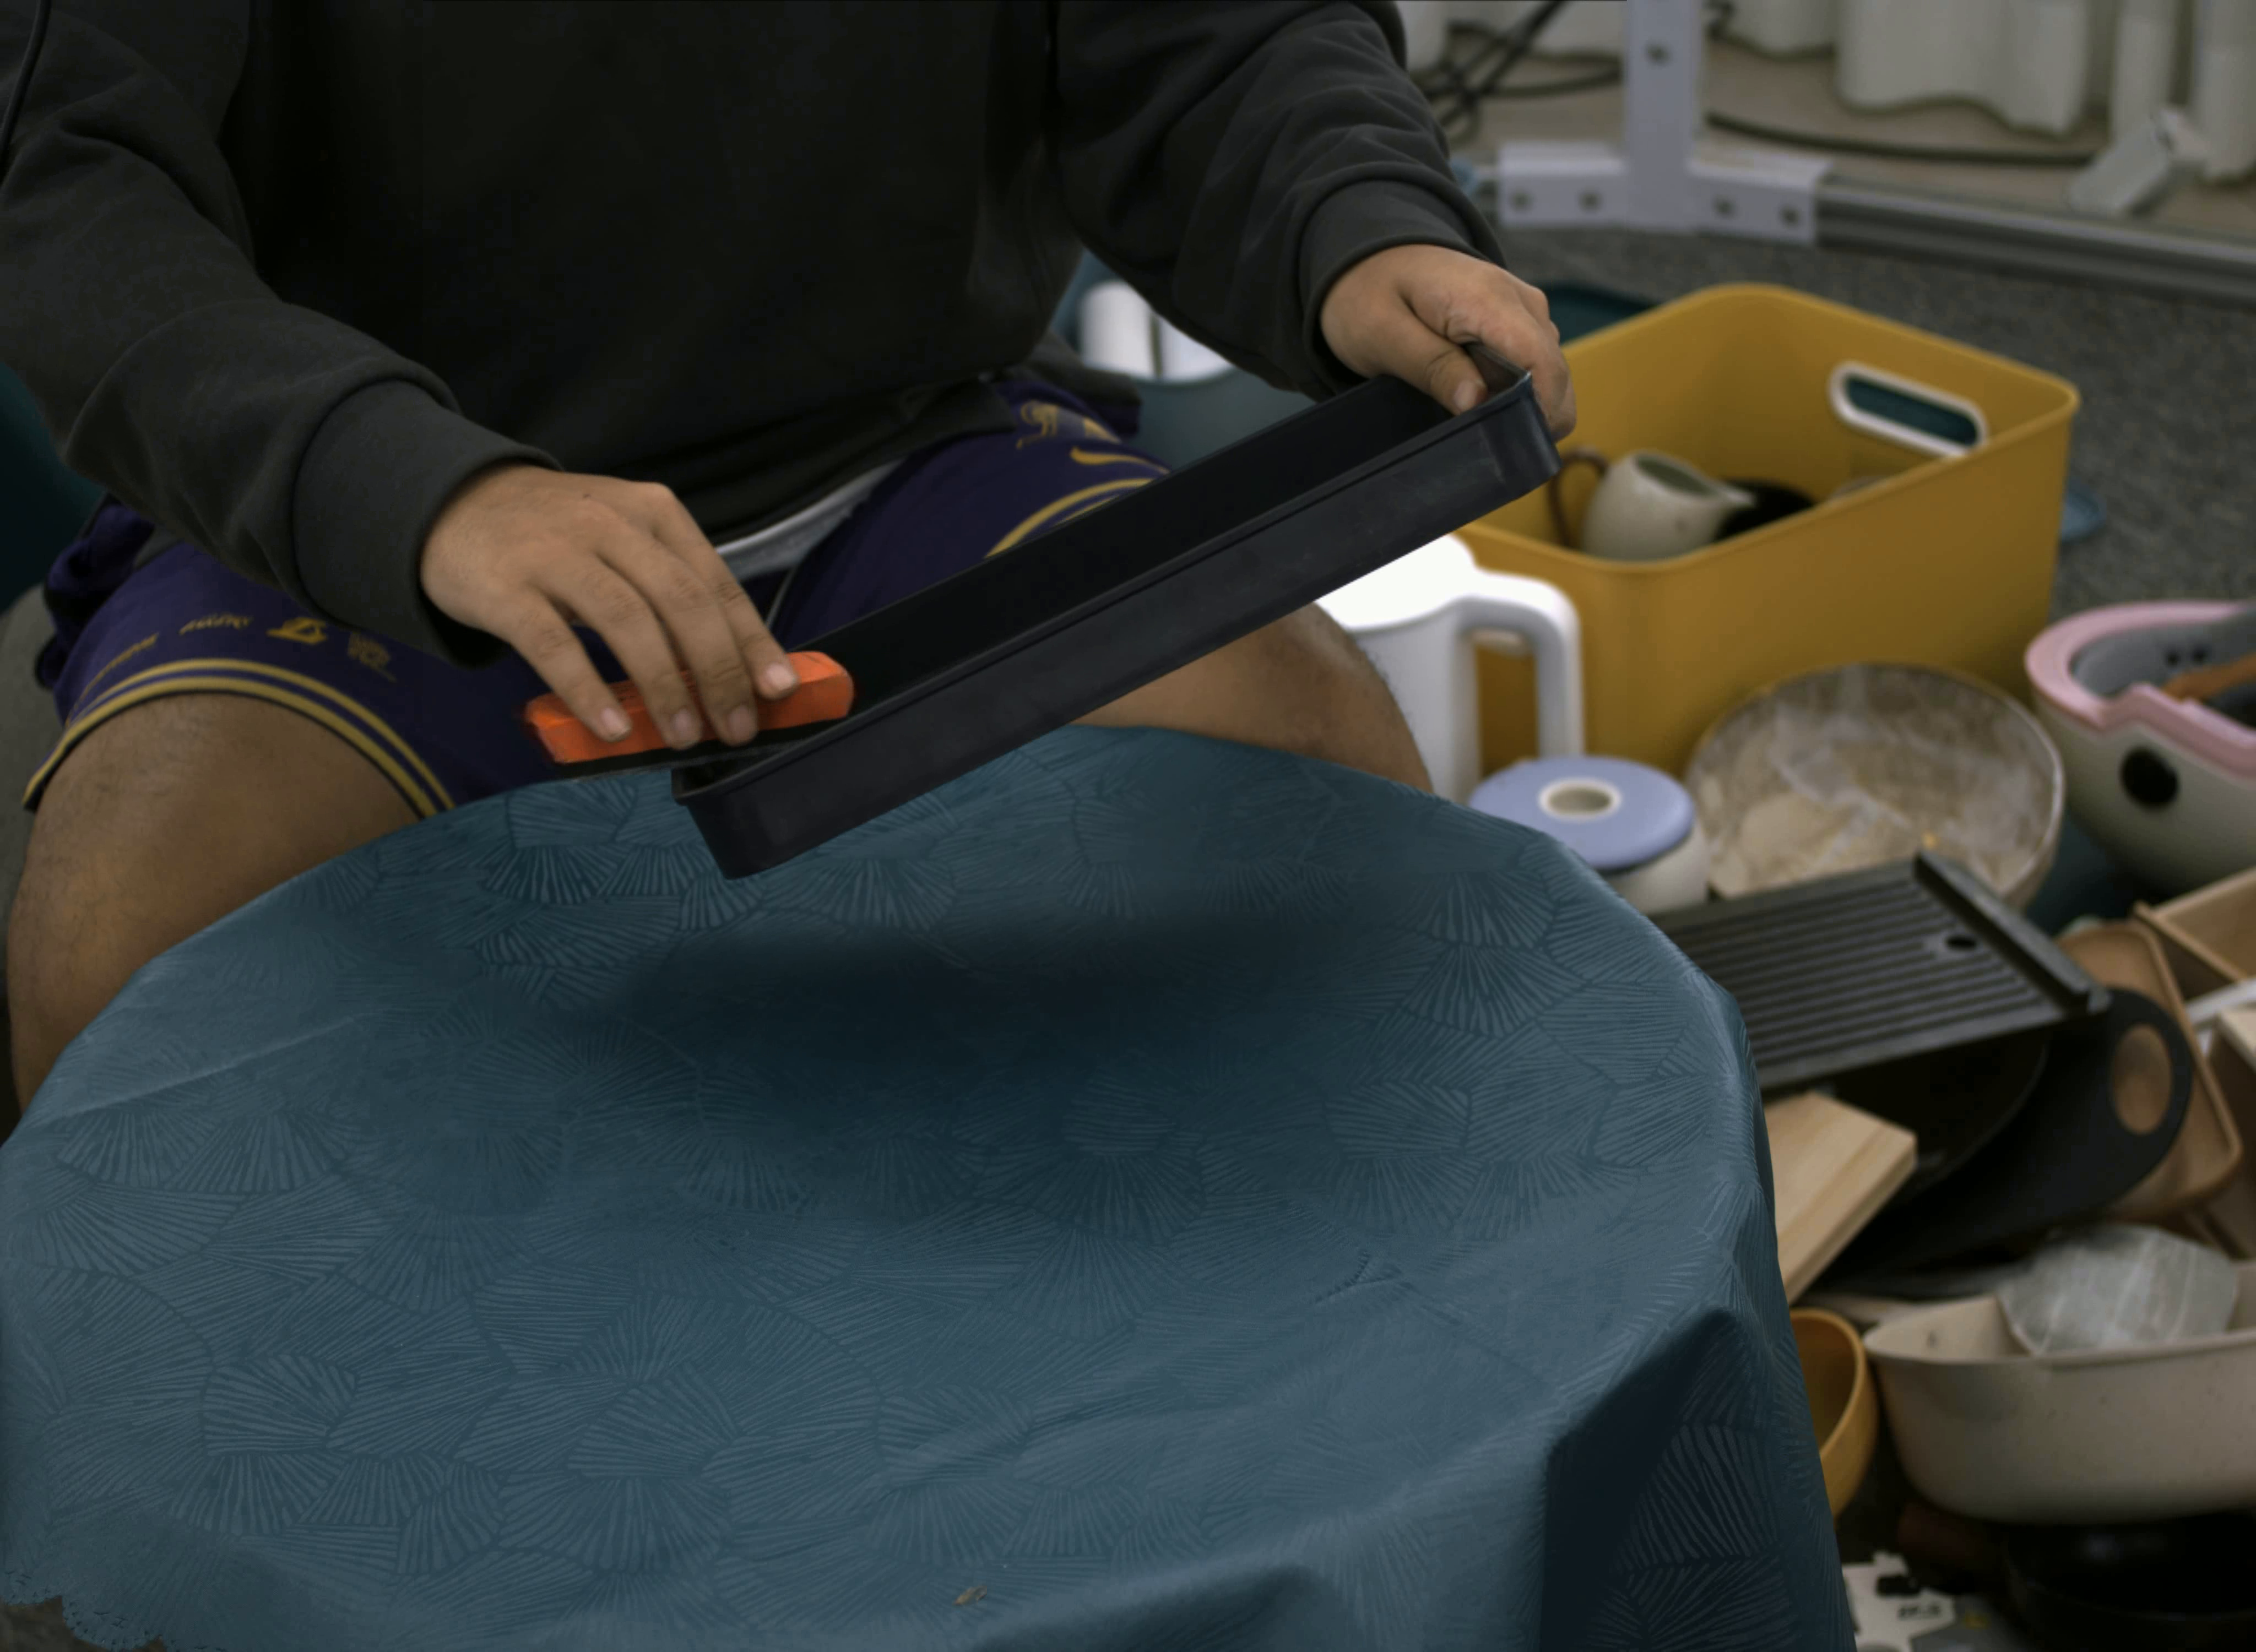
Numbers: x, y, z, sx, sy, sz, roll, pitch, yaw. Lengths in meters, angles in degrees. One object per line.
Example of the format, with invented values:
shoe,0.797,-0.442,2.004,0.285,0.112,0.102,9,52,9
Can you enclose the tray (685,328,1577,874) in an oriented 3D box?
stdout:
tray,-0.002,-0.080,1.933,0.317,0.037,0.185,-27,10,-3

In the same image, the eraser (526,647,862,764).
eraser,-0.148,-0.041,1.925,0.108,0.023,0.058,-11,4,-20
